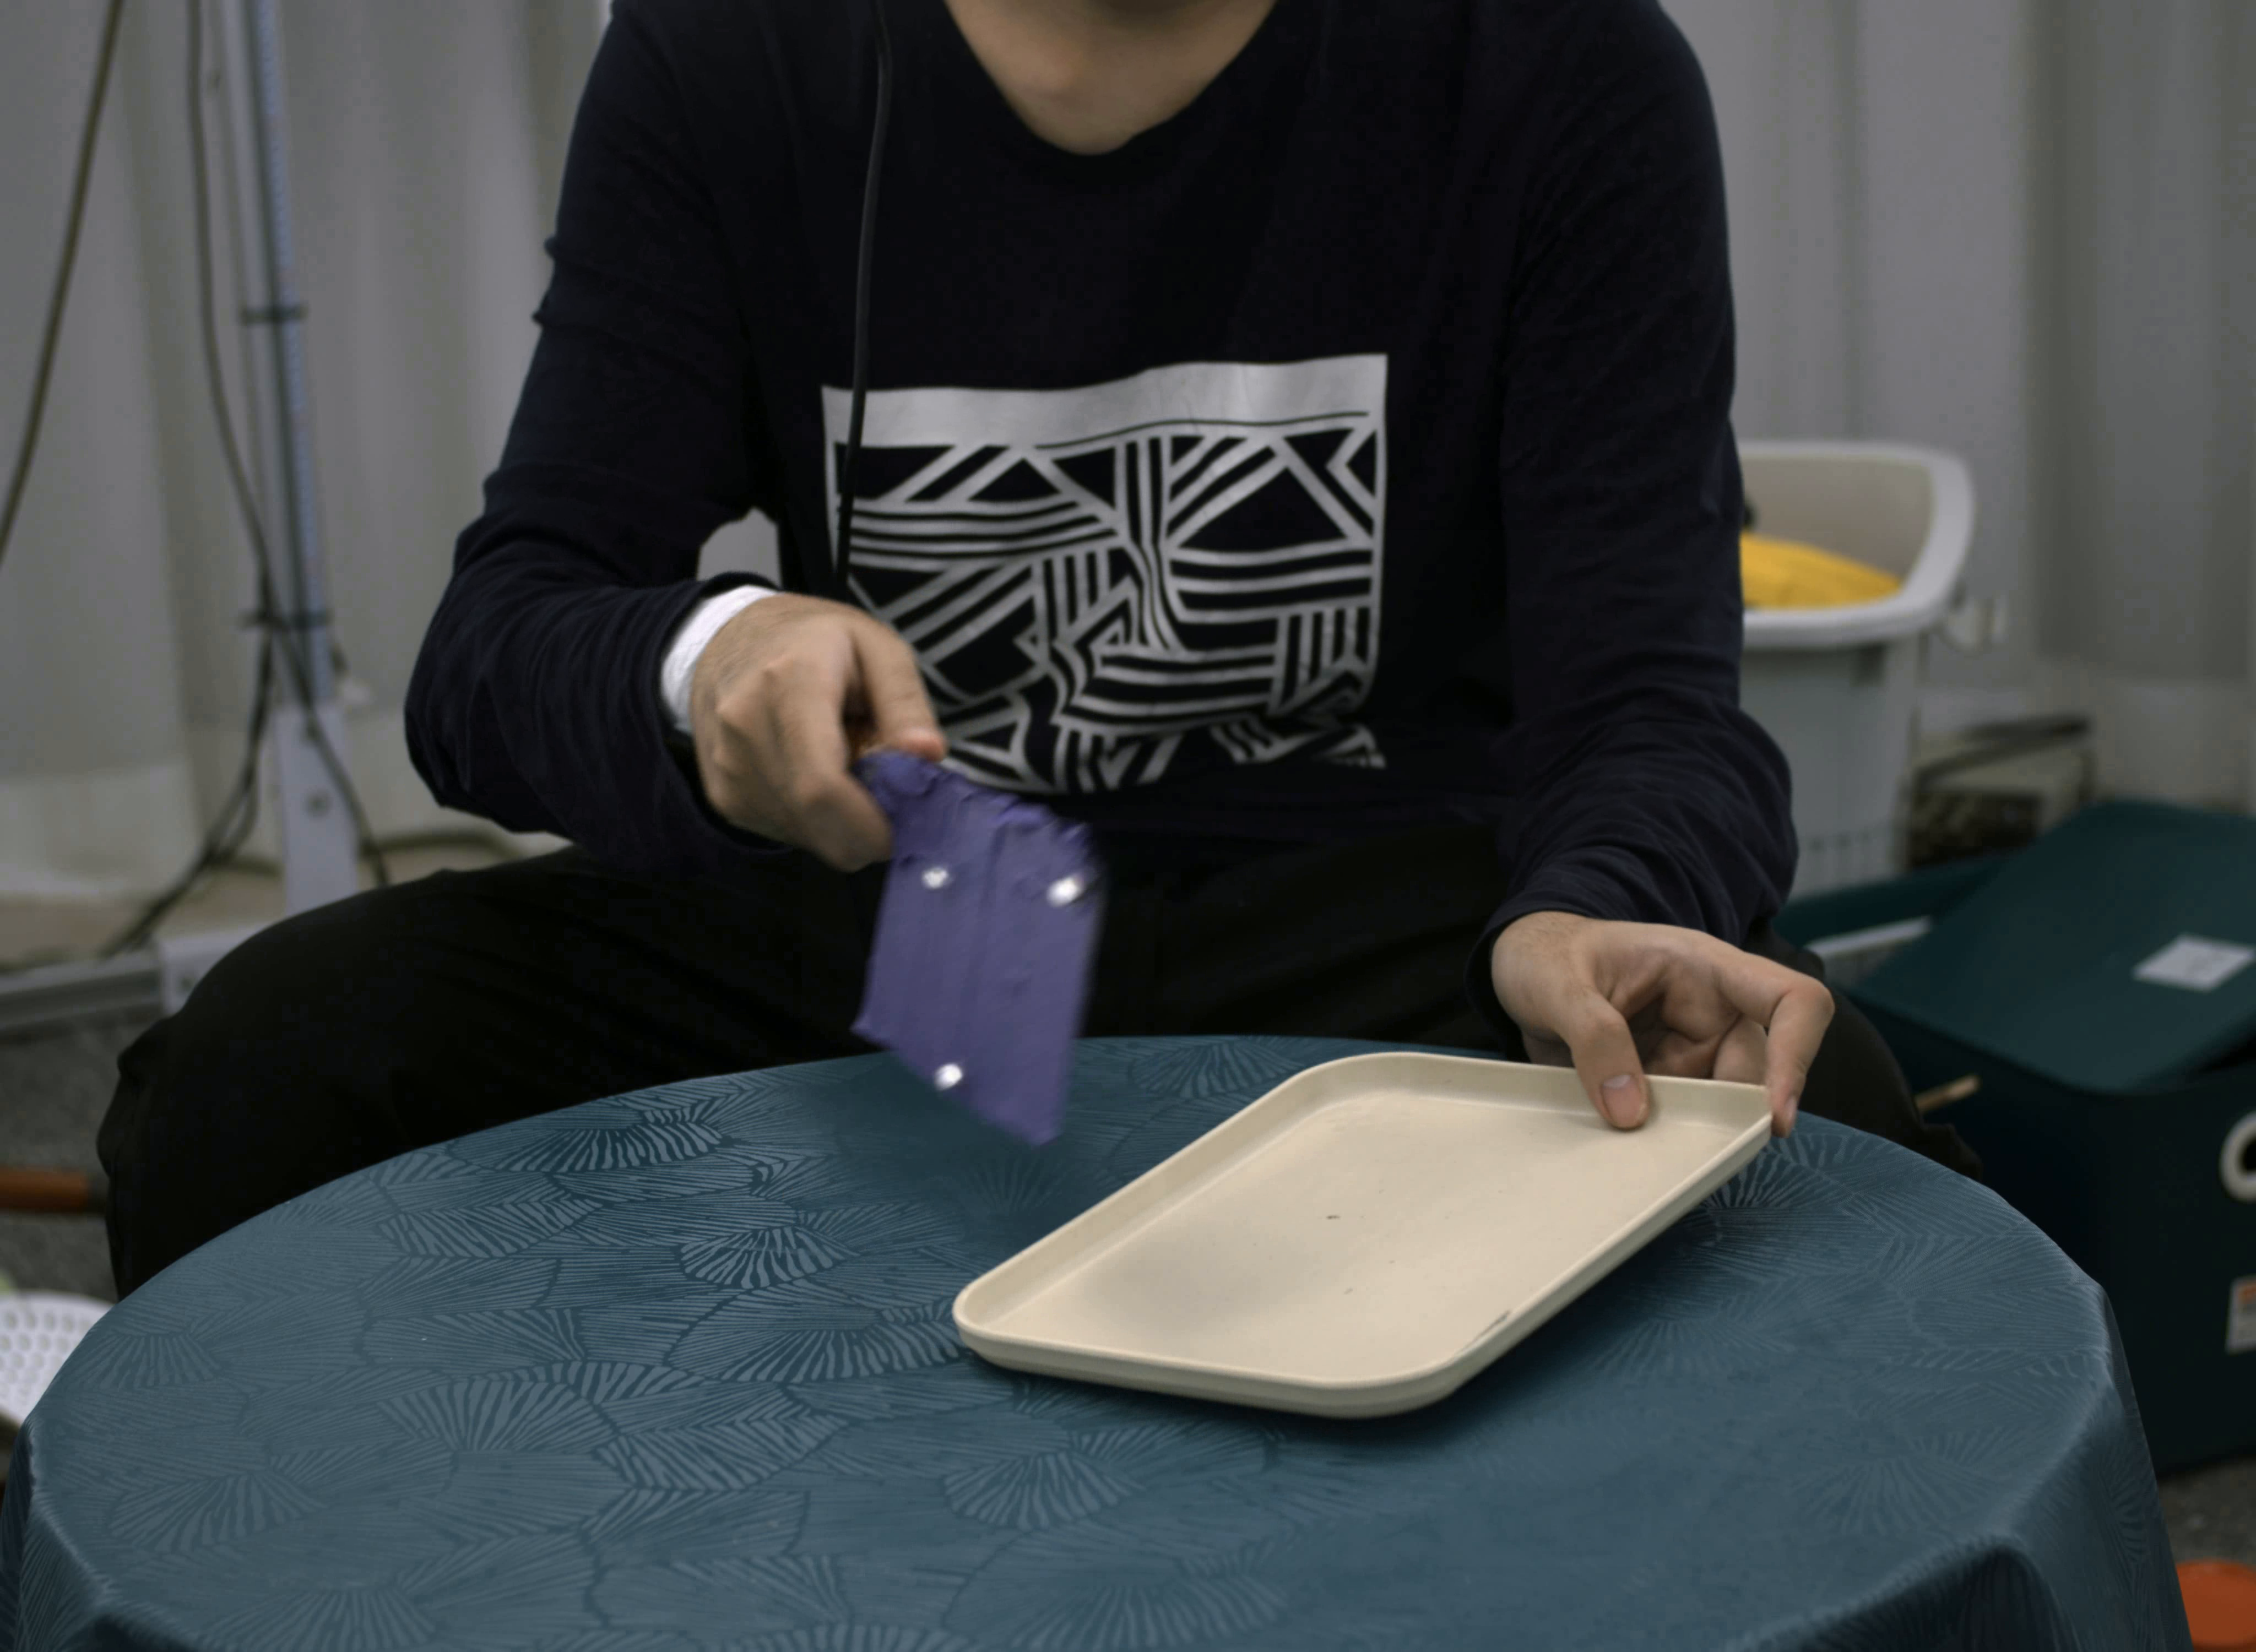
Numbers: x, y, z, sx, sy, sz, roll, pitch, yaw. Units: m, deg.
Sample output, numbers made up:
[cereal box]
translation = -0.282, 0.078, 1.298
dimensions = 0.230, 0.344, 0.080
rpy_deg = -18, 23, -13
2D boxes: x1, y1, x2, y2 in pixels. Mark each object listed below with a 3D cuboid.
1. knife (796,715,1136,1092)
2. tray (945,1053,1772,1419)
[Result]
[knife]
translation = -0.057, 0.022, 1.690
dimensions = 0.032, 0.104, 0.316
rpy_deg = 10, 3, -18
[tray]
translation = 0.071, 0.120, 1.617
dimensions = 0.172, 0.017, 0.240
rpy_deg = 4, 20, 36
